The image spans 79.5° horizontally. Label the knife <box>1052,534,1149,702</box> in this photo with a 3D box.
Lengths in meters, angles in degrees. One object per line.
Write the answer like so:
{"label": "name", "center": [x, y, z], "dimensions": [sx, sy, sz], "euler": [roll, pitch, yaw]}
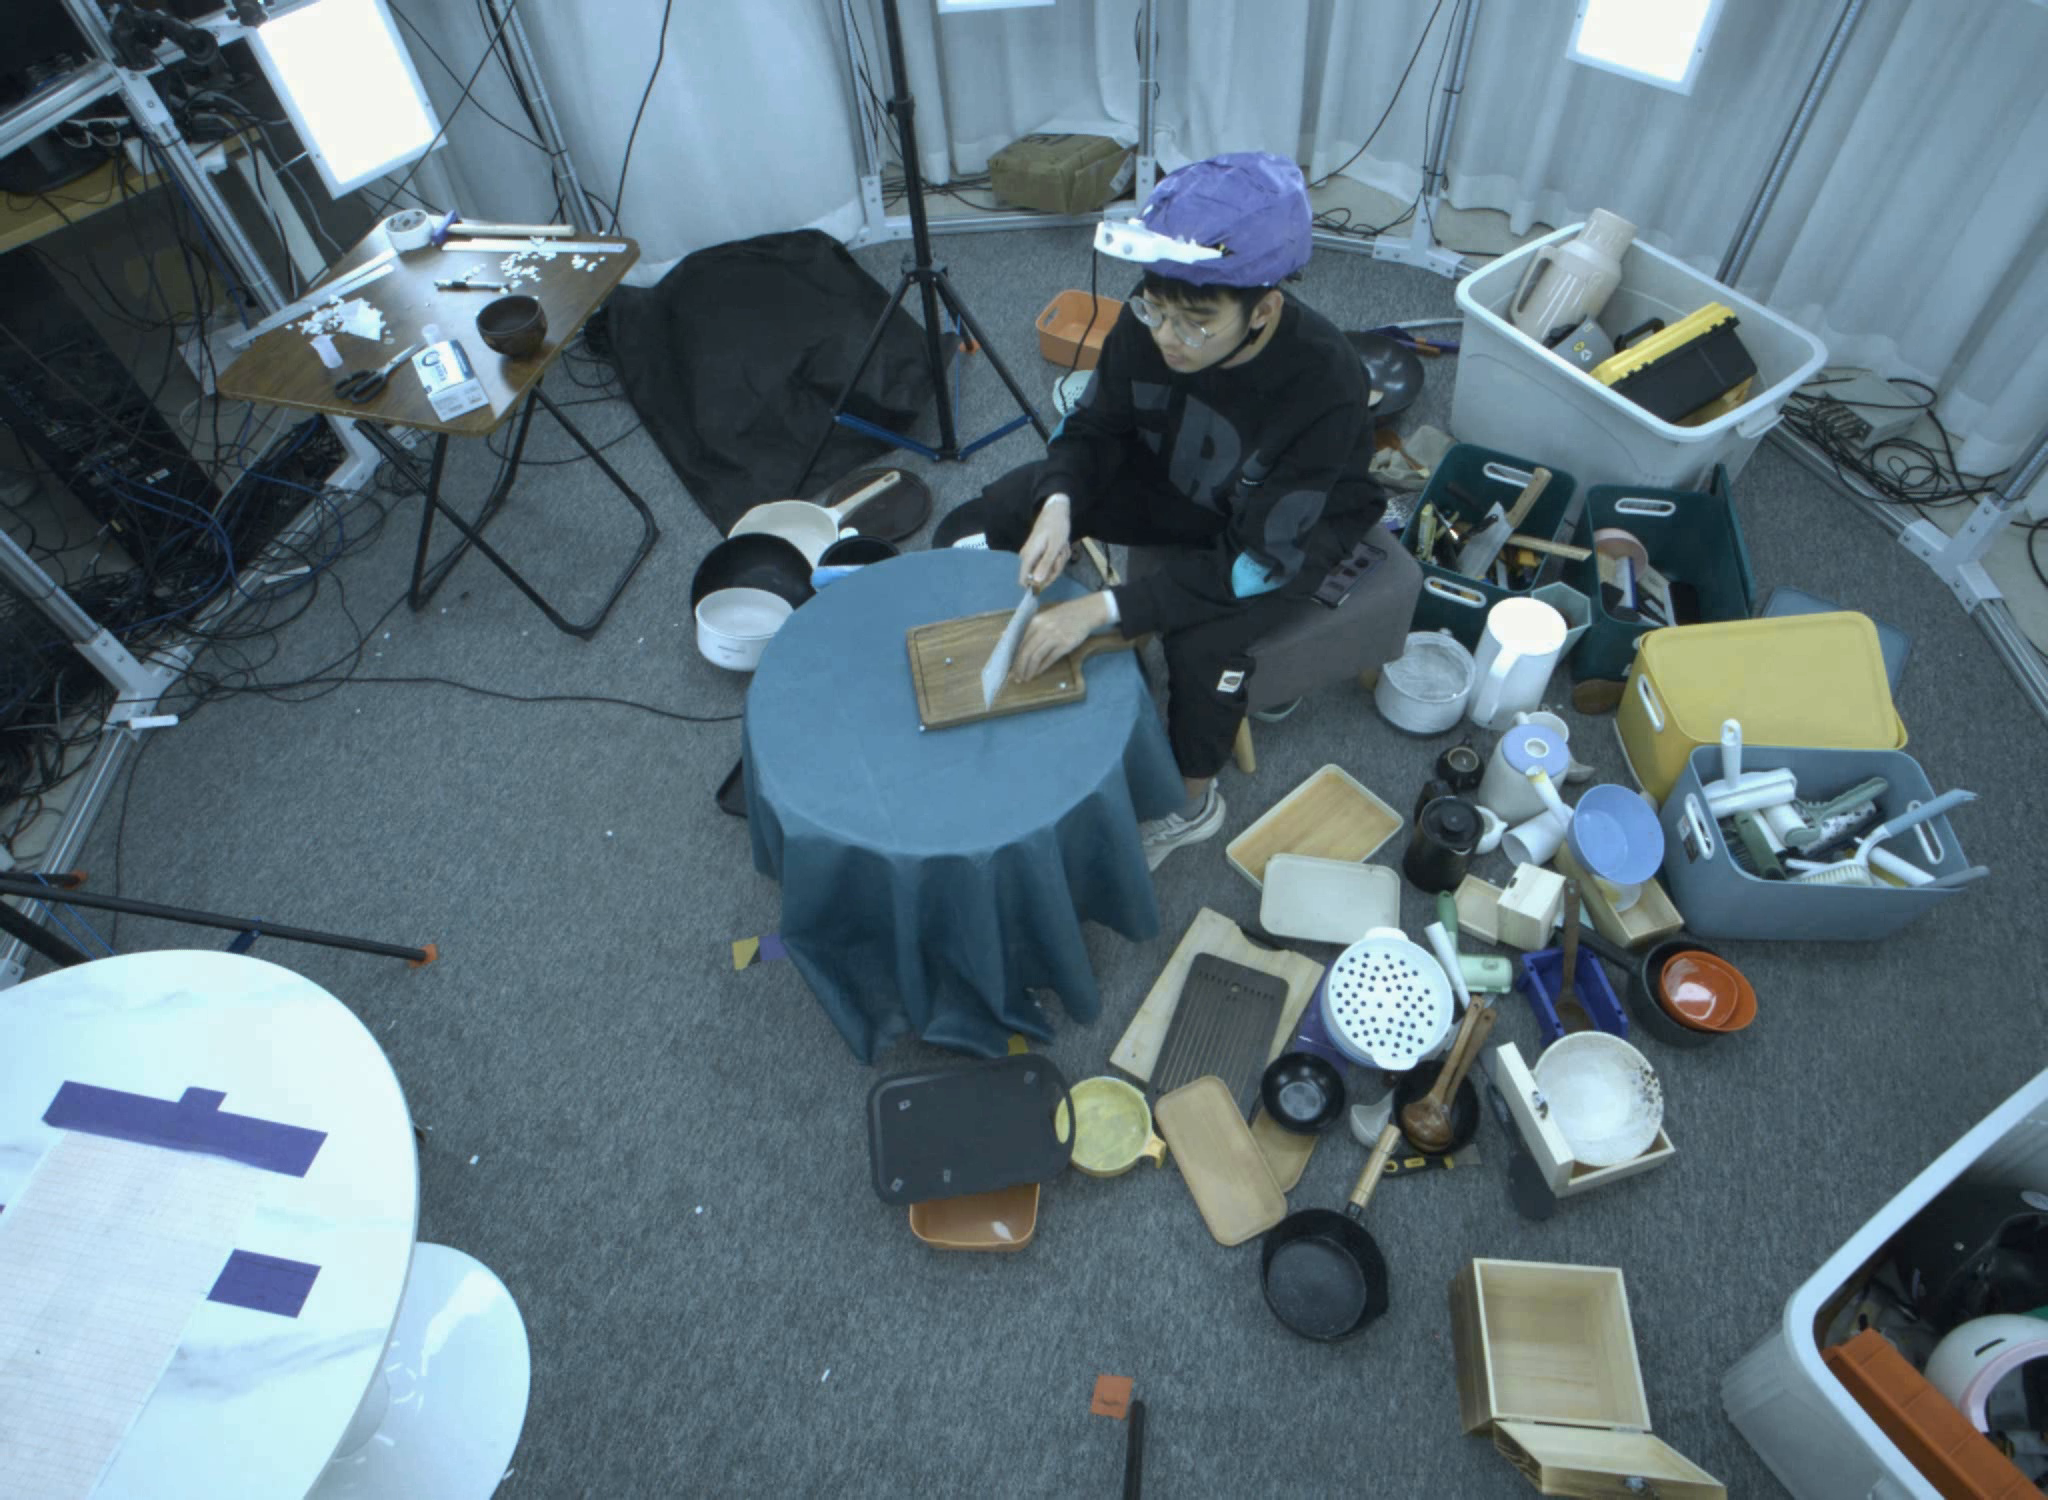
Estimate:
{"label": "knife", "center": [0.113, -0.195, 1.832], "dimensions": [0.021, 0.094, 0.306], "euler": [22, 61, 19]}

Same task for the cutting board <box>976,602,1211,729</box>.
{"label": "cutting board", "center": [0.111, -0.138, 1.867], "dimensions": [0.353, 0.023, 0.198], "euler": [-8, 55, -3]}
